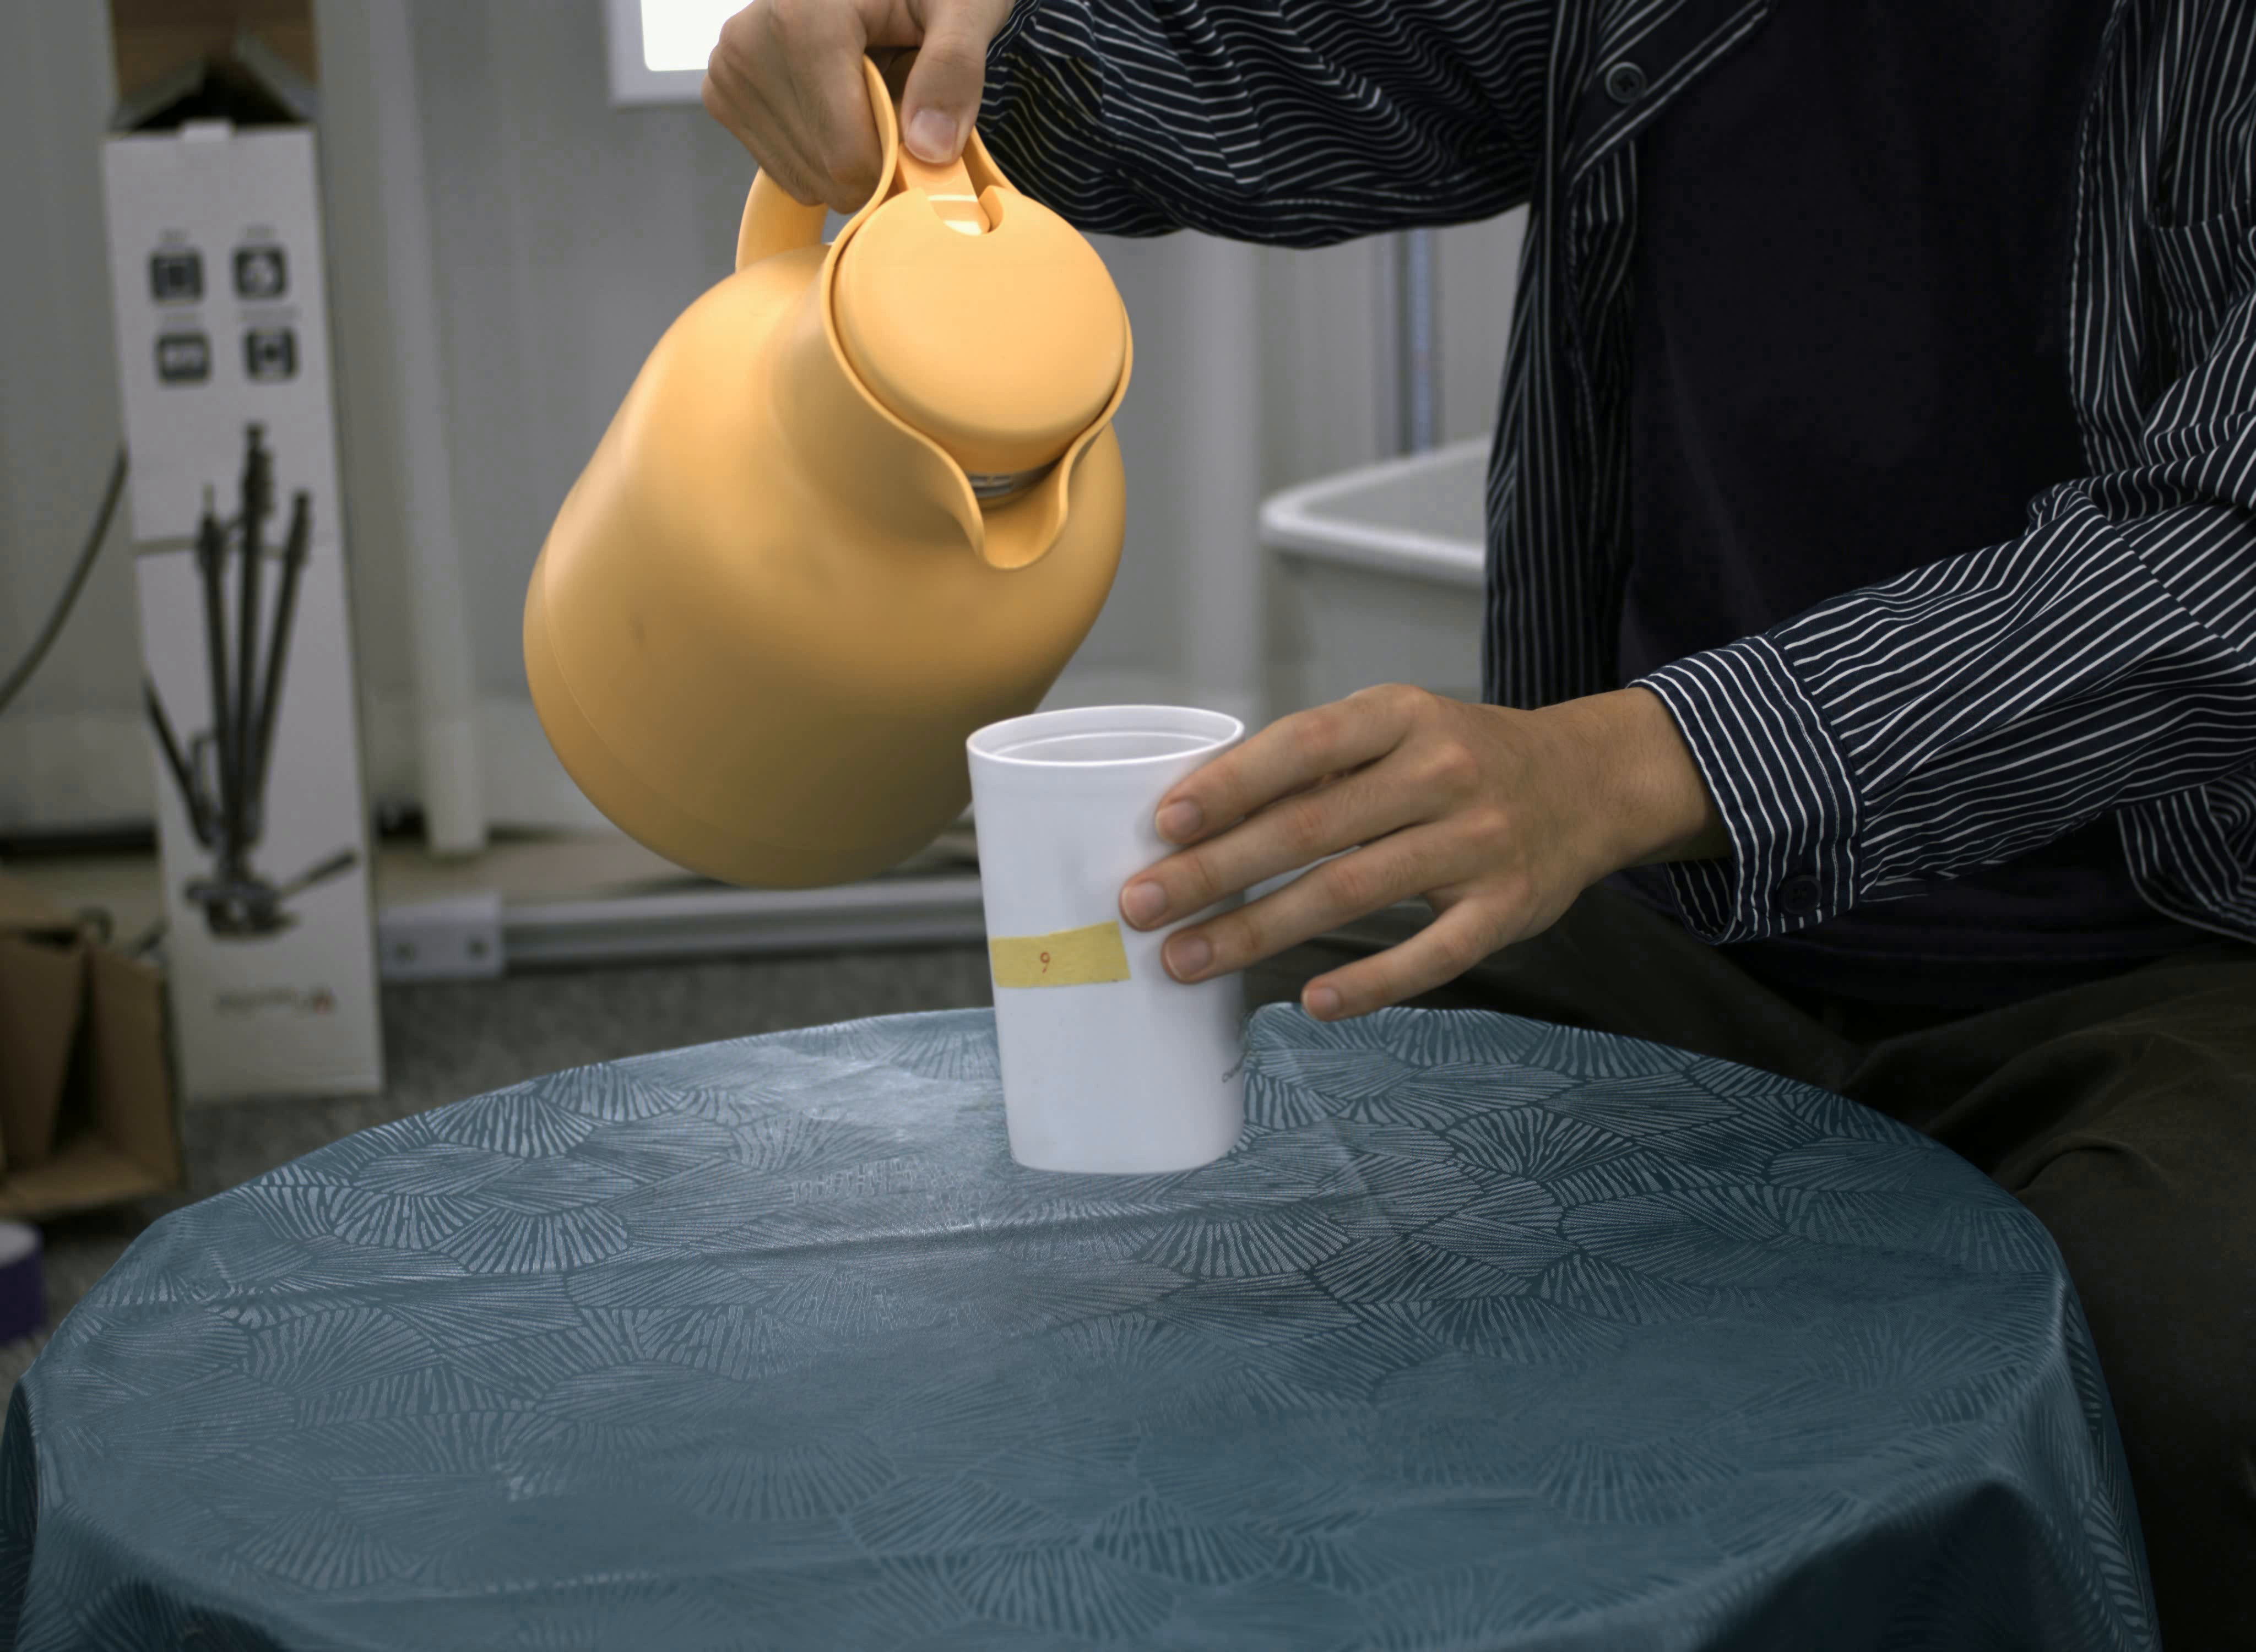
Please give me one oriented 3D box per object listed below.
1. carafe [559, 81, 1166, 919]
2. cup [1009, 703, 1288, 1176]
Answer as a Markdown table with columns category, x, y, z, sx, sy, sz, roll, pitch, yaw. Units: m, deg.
| category | x | y | z | sx | sy | sz | roll | pitch | yaw |
| --- | --- | --- | --- | --- | --- | --- | --- | --- | --- |
| carafe | -0.076 | -0.105 | 1.709 | 0.162 | 0.205 | 0.258 | -3 | -25 | -25 |
| cup | 0.009 | 0.033 | 1.590 | 0.081 | 0.125 | 0.082 | -2 | 11 | 0 |
